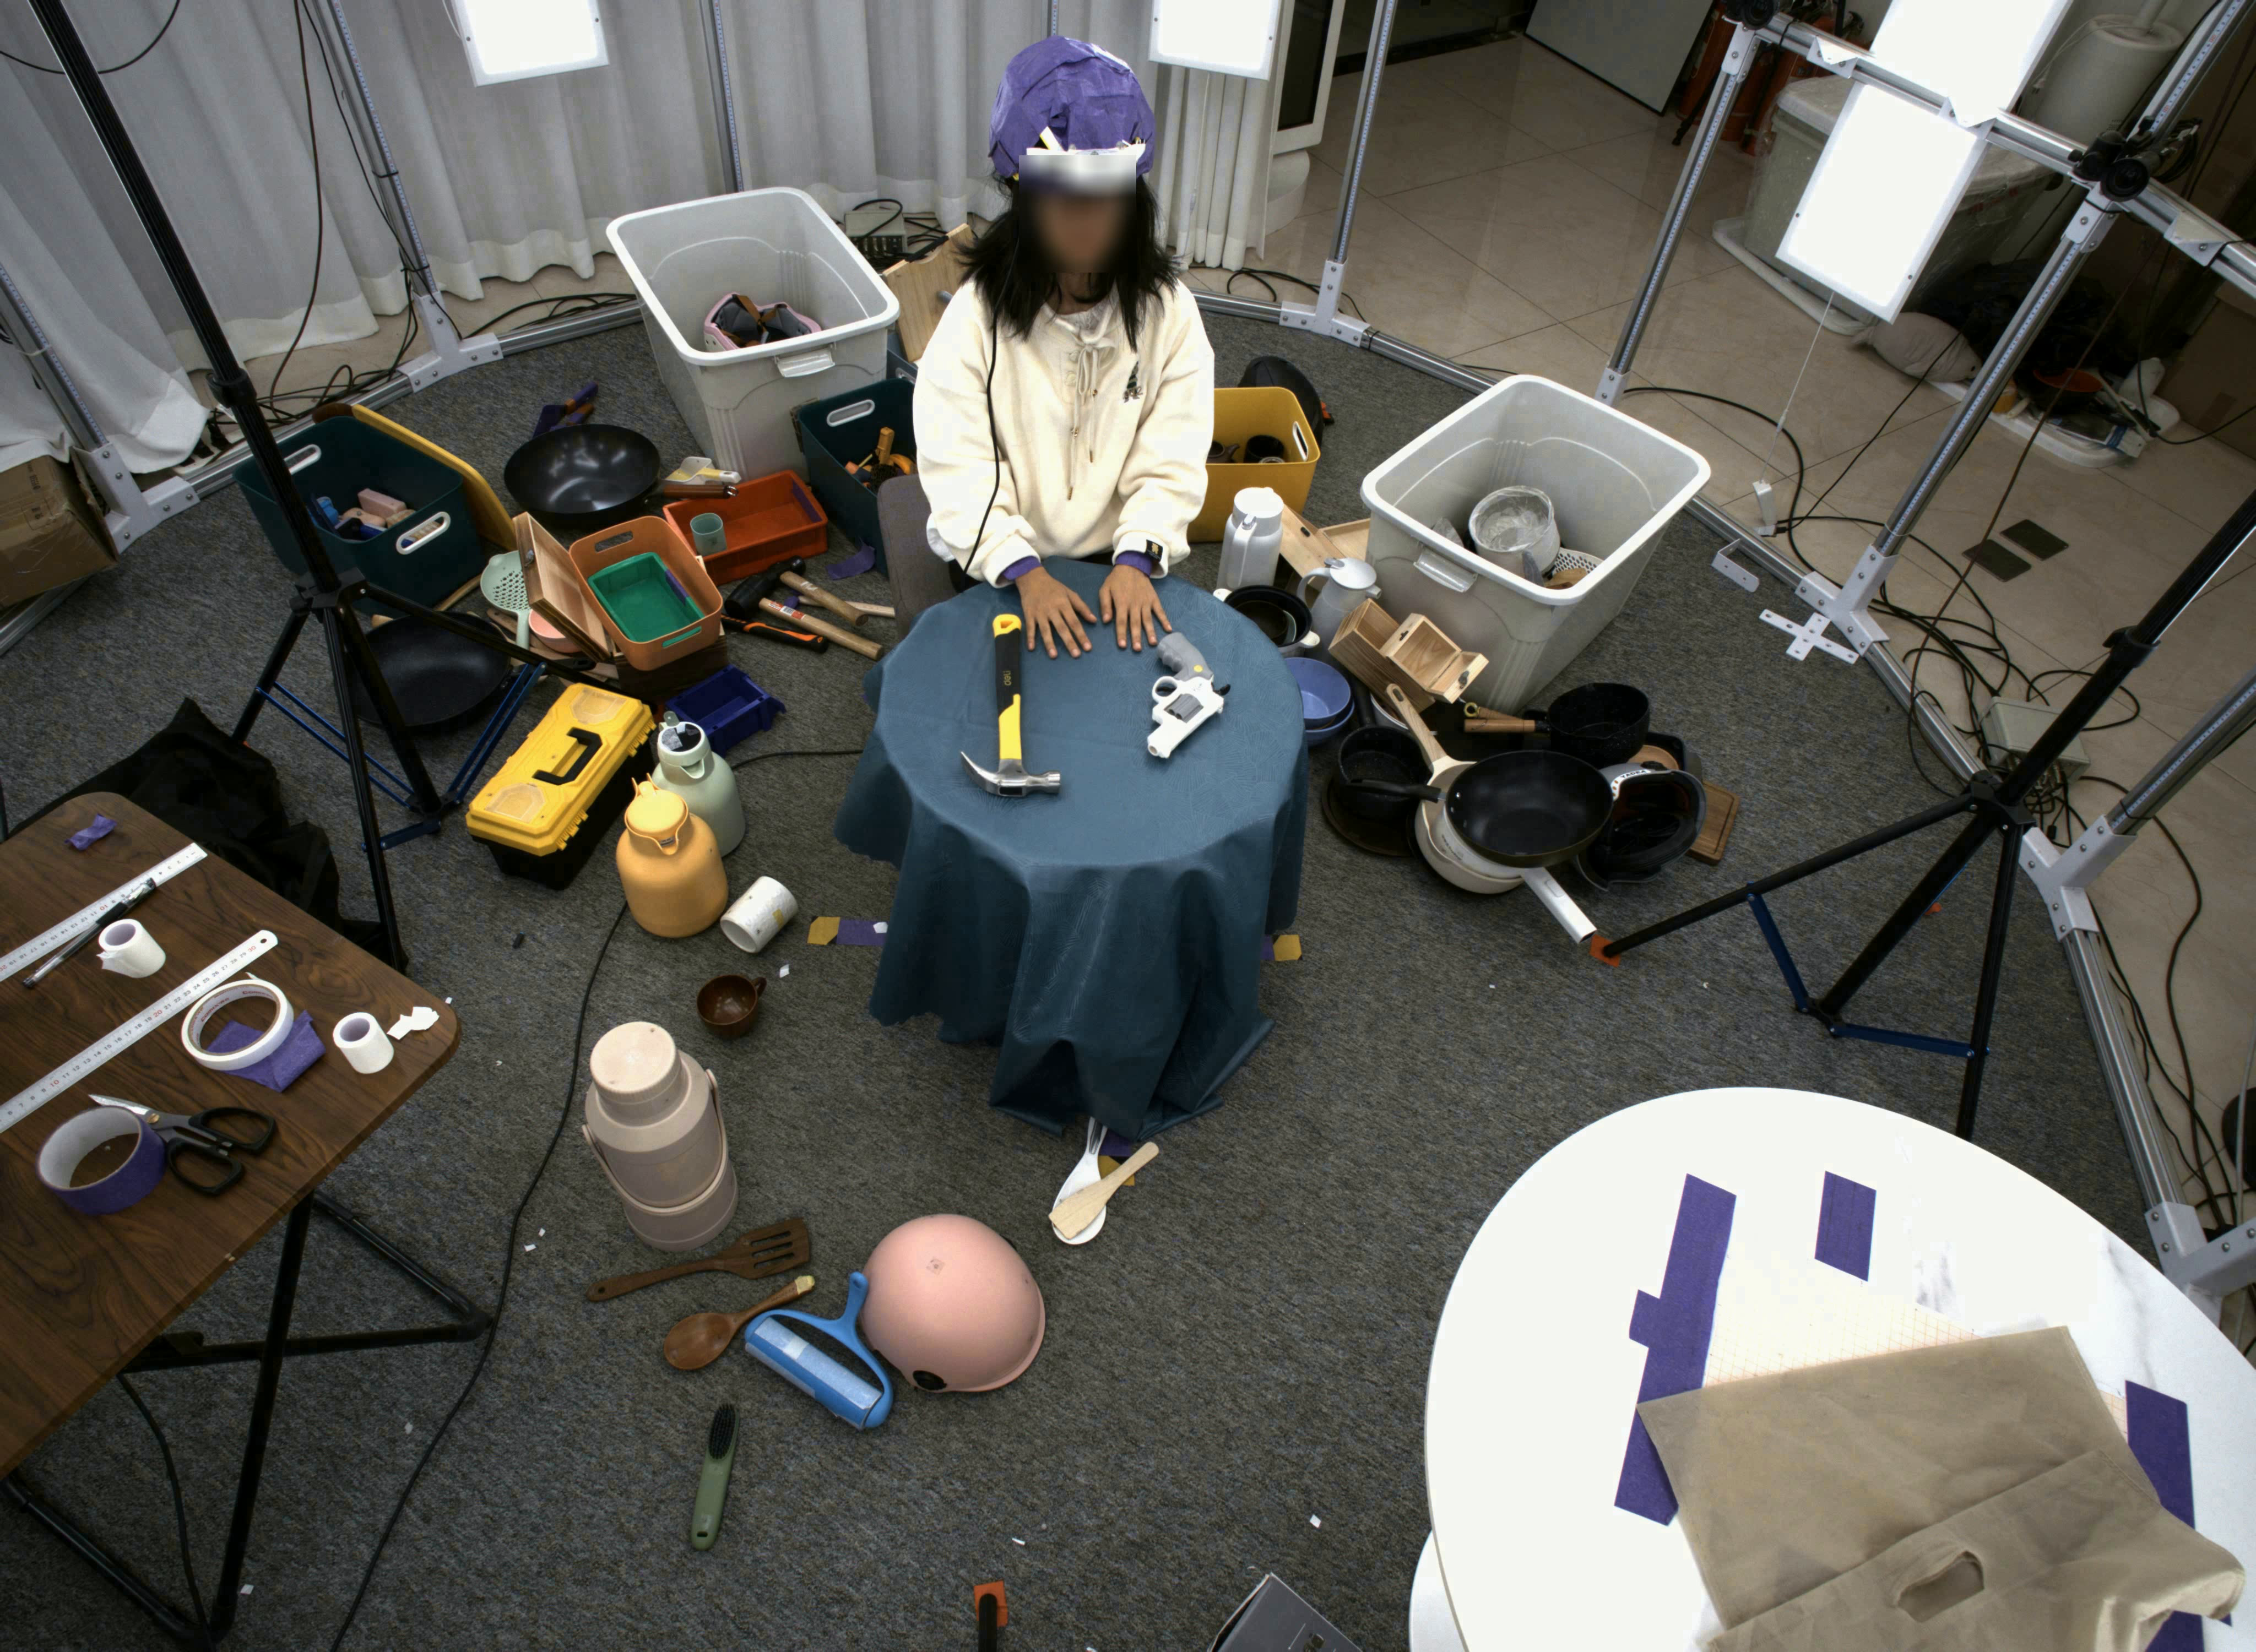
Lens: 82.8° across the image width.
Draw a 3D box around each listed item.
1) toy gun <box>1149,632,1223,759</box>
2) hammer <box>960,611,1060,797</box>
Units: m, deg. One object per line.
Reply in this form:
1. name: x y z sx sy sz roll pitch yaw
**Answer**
1. toy gun: 0.061 -0.187 1.811 0.143 0.038 0.212 31 54 20
2. hammer: -0.165 -0.178 1.790 0.131 0.031 0.347 -2 50 -3
